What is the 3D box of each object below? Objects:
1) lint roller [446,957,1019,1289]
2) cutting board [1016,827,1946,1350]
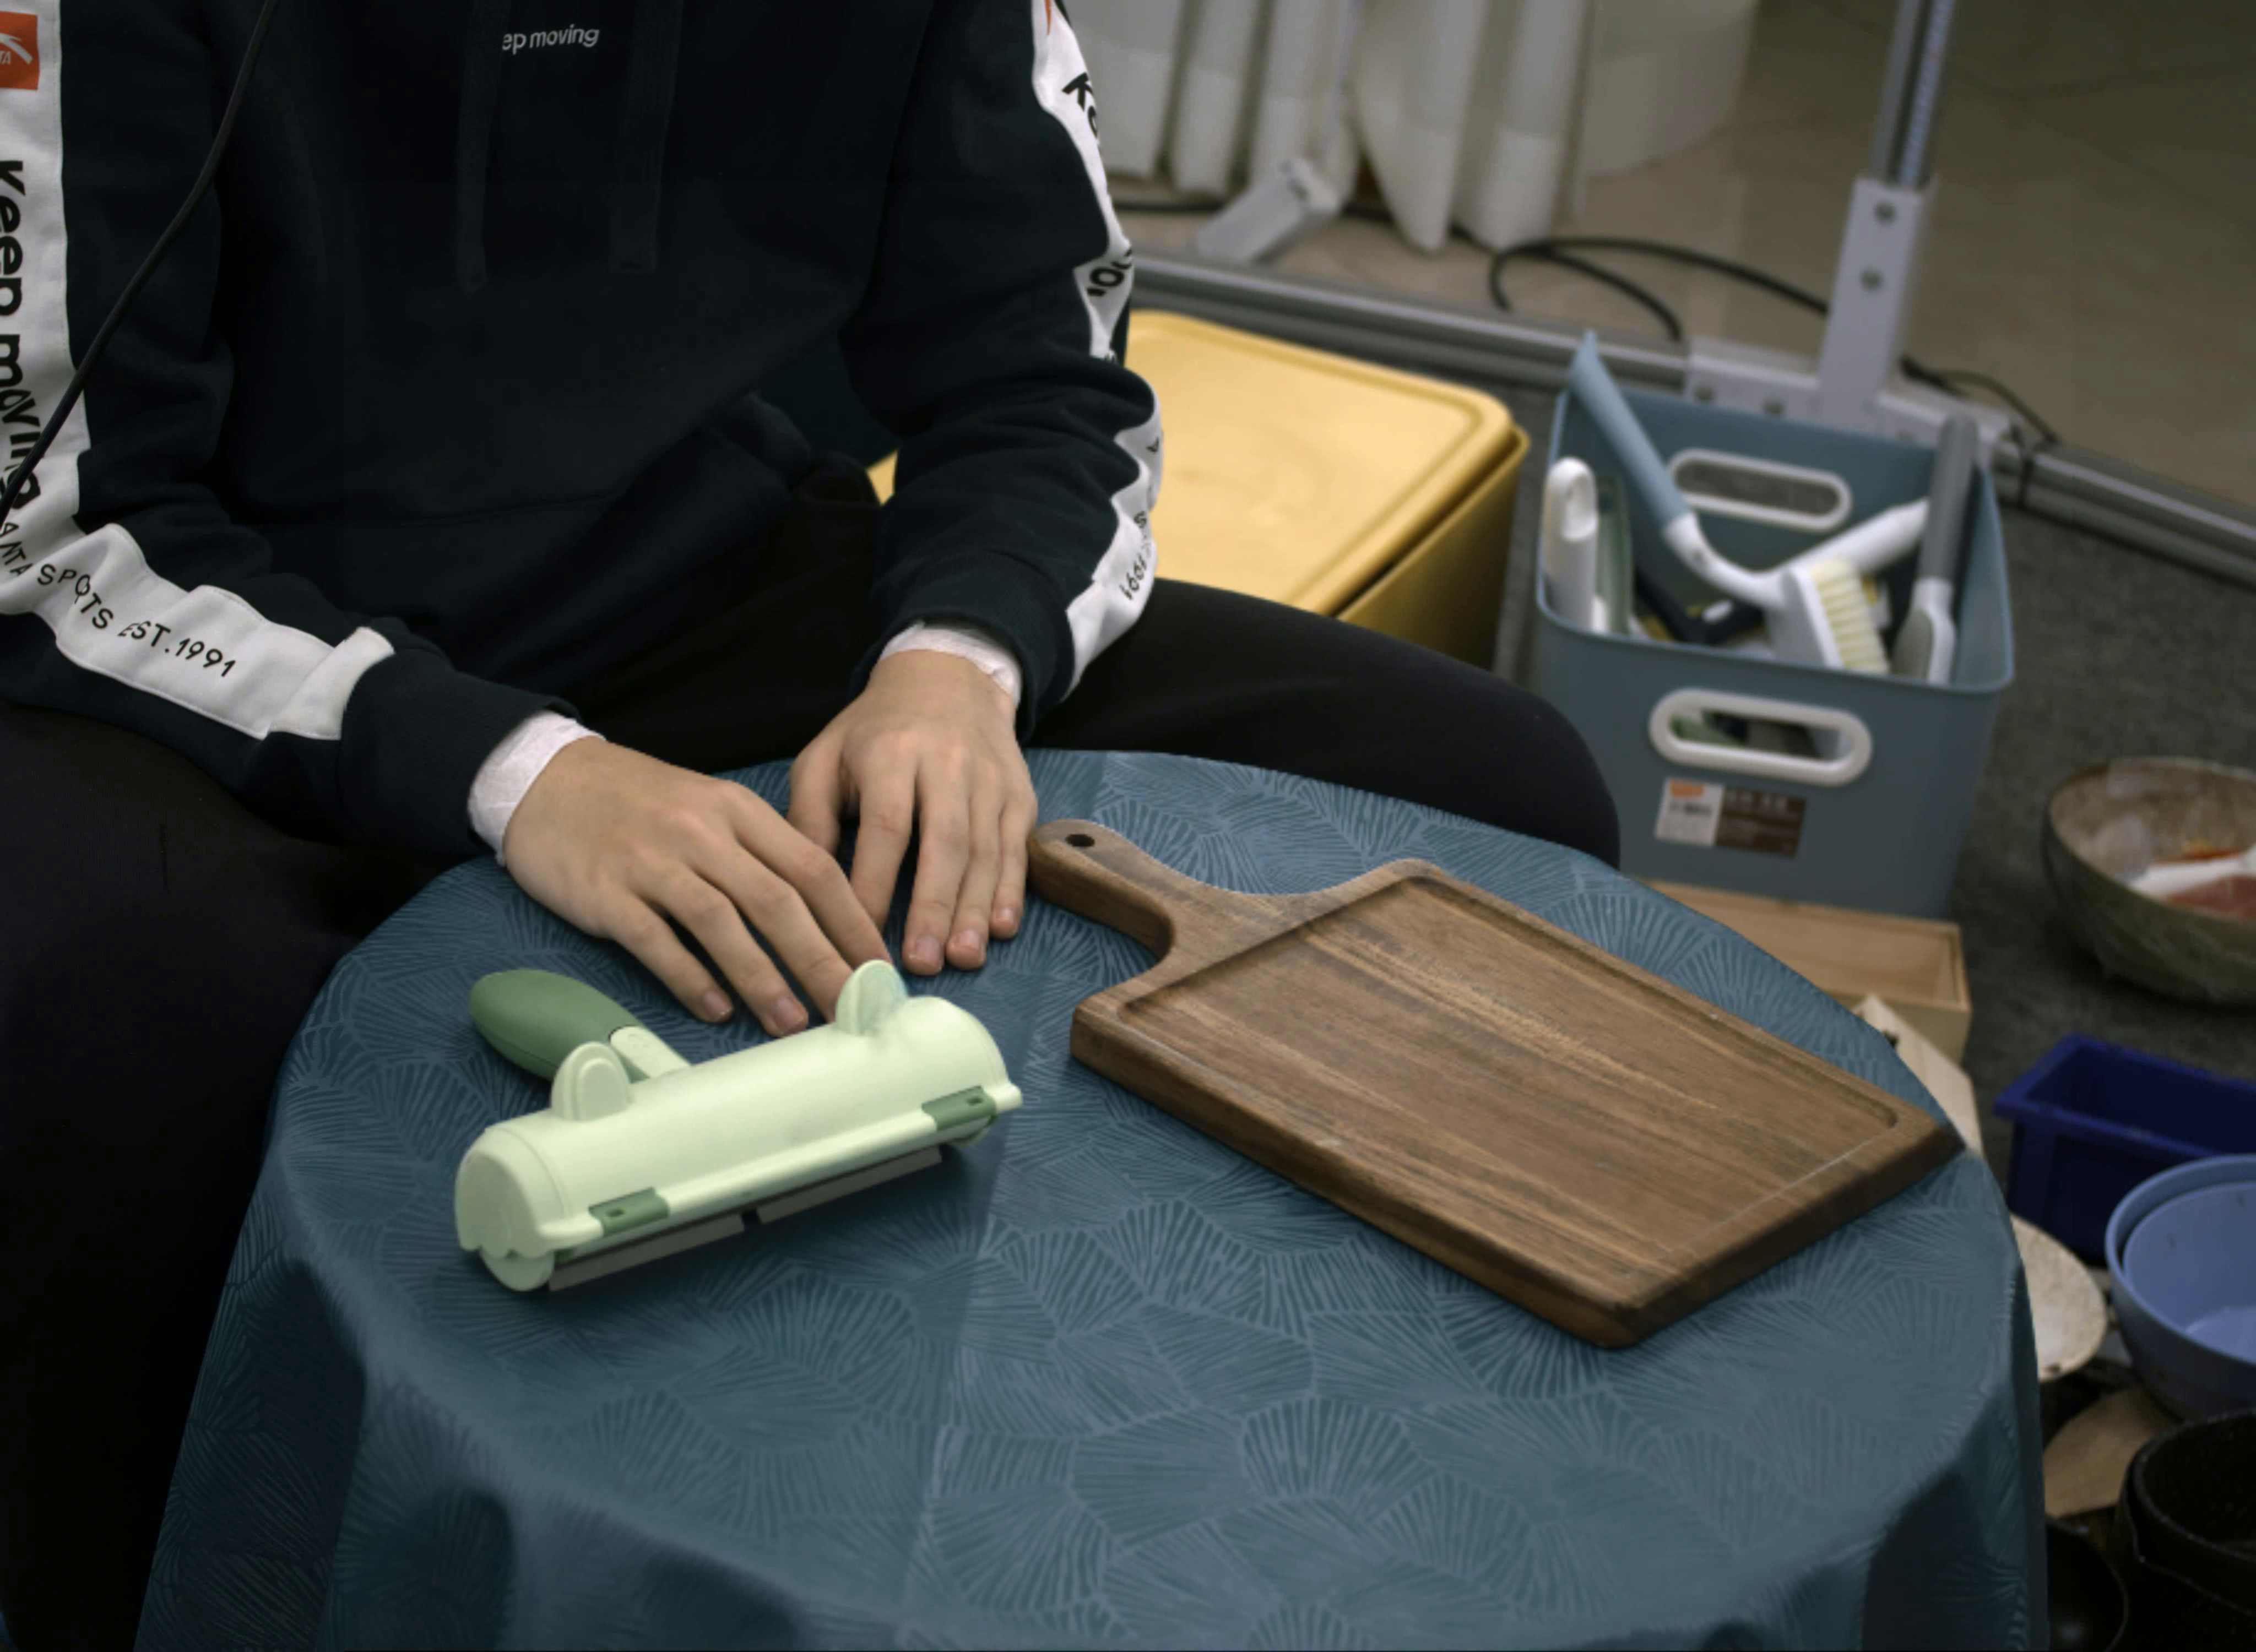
[{"bbox_3d":[-0.163,0.070,1.781,0.197,0.082,0.185,-16,39,-37],"label":"lint roller"},{"bbox_3d":[0.096,0.074,1.895,0.354,0.023,0.200,26,33,34],"label":"cutting board"}]
